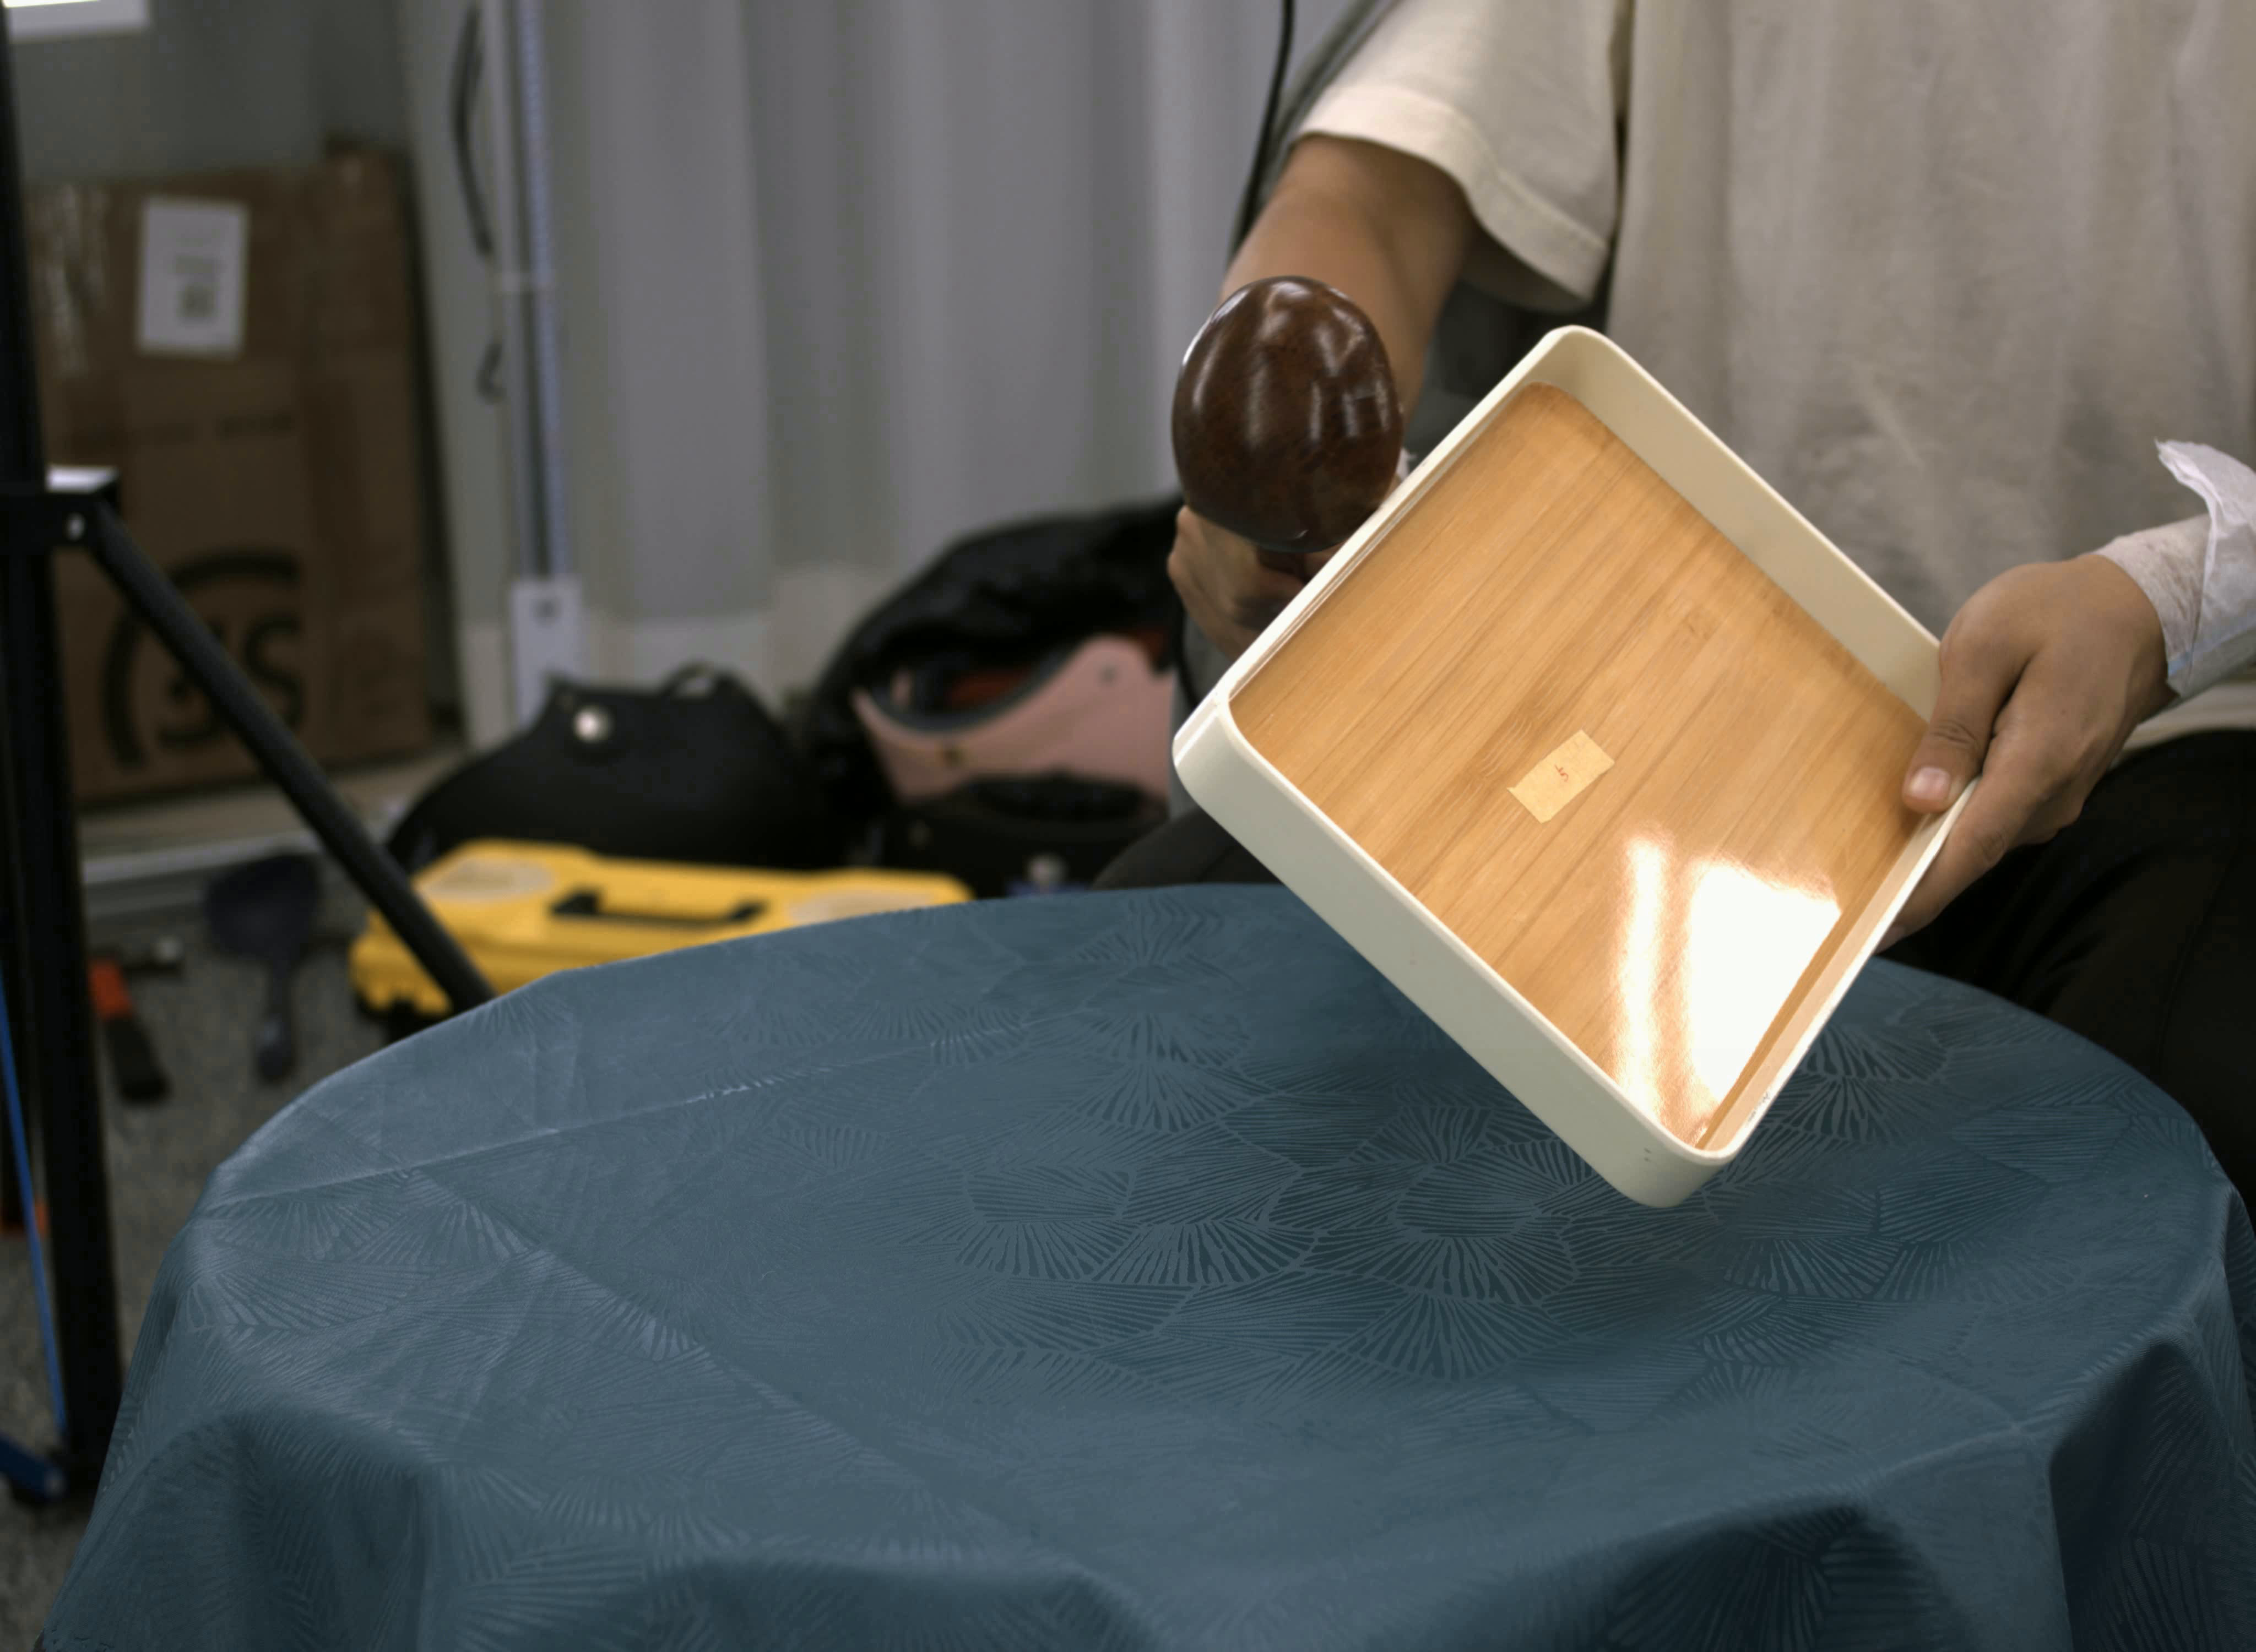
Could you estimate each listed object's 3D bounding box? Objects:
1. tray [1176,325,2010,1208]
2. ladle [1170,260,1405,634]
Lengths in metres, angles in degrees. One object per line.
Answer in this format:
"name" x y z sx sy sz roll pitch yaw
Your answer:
"tray" 0.142 -0.025 1.531 0.192 0.027 0.297 42 36 2
"ladle" 0.061 -0.105 1.637 0.077 0.082 0.271 -12 -11 8
